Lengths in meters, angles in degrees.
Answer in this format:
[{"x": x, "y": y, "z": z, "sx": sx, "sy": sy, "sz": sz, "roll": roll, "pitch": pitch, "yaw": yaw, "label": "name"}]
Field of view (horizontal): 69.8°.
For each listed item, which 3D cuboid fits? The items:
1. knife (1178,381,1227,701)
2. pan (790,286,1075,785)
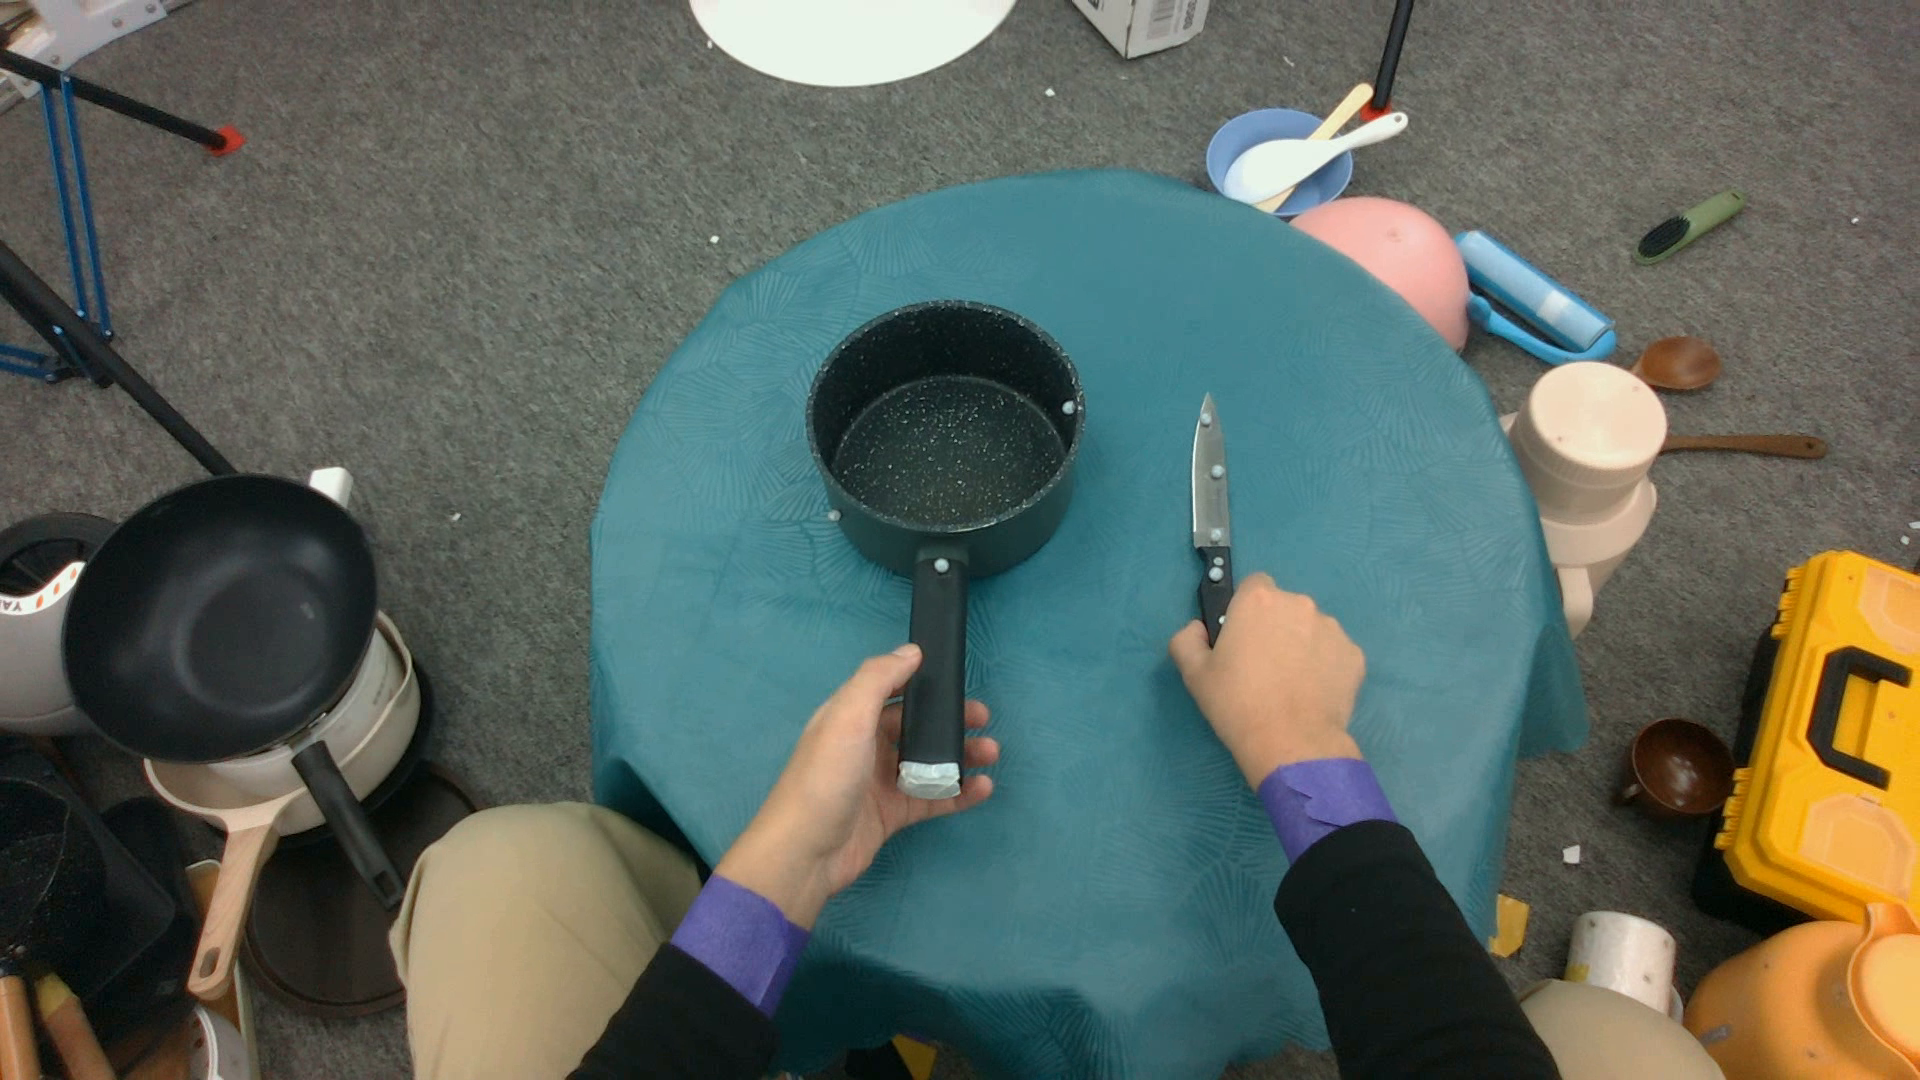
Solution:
[{"x": 0.152, "y": -0.008, "z": 0.860, "sx": 0.024, "sy": 0.016, "sz": 0.239, "roll": -3, "pitch": 56, "yaw": 9, "label": "knife"}, {"x": -0.021, "y": -0.001, "z": 0.822, "sx": 0.172, "sy": 0.086, "sz": 0.330, "roll": 3, "pitch": 59, "yaw": 4, "label": "pan"}]
